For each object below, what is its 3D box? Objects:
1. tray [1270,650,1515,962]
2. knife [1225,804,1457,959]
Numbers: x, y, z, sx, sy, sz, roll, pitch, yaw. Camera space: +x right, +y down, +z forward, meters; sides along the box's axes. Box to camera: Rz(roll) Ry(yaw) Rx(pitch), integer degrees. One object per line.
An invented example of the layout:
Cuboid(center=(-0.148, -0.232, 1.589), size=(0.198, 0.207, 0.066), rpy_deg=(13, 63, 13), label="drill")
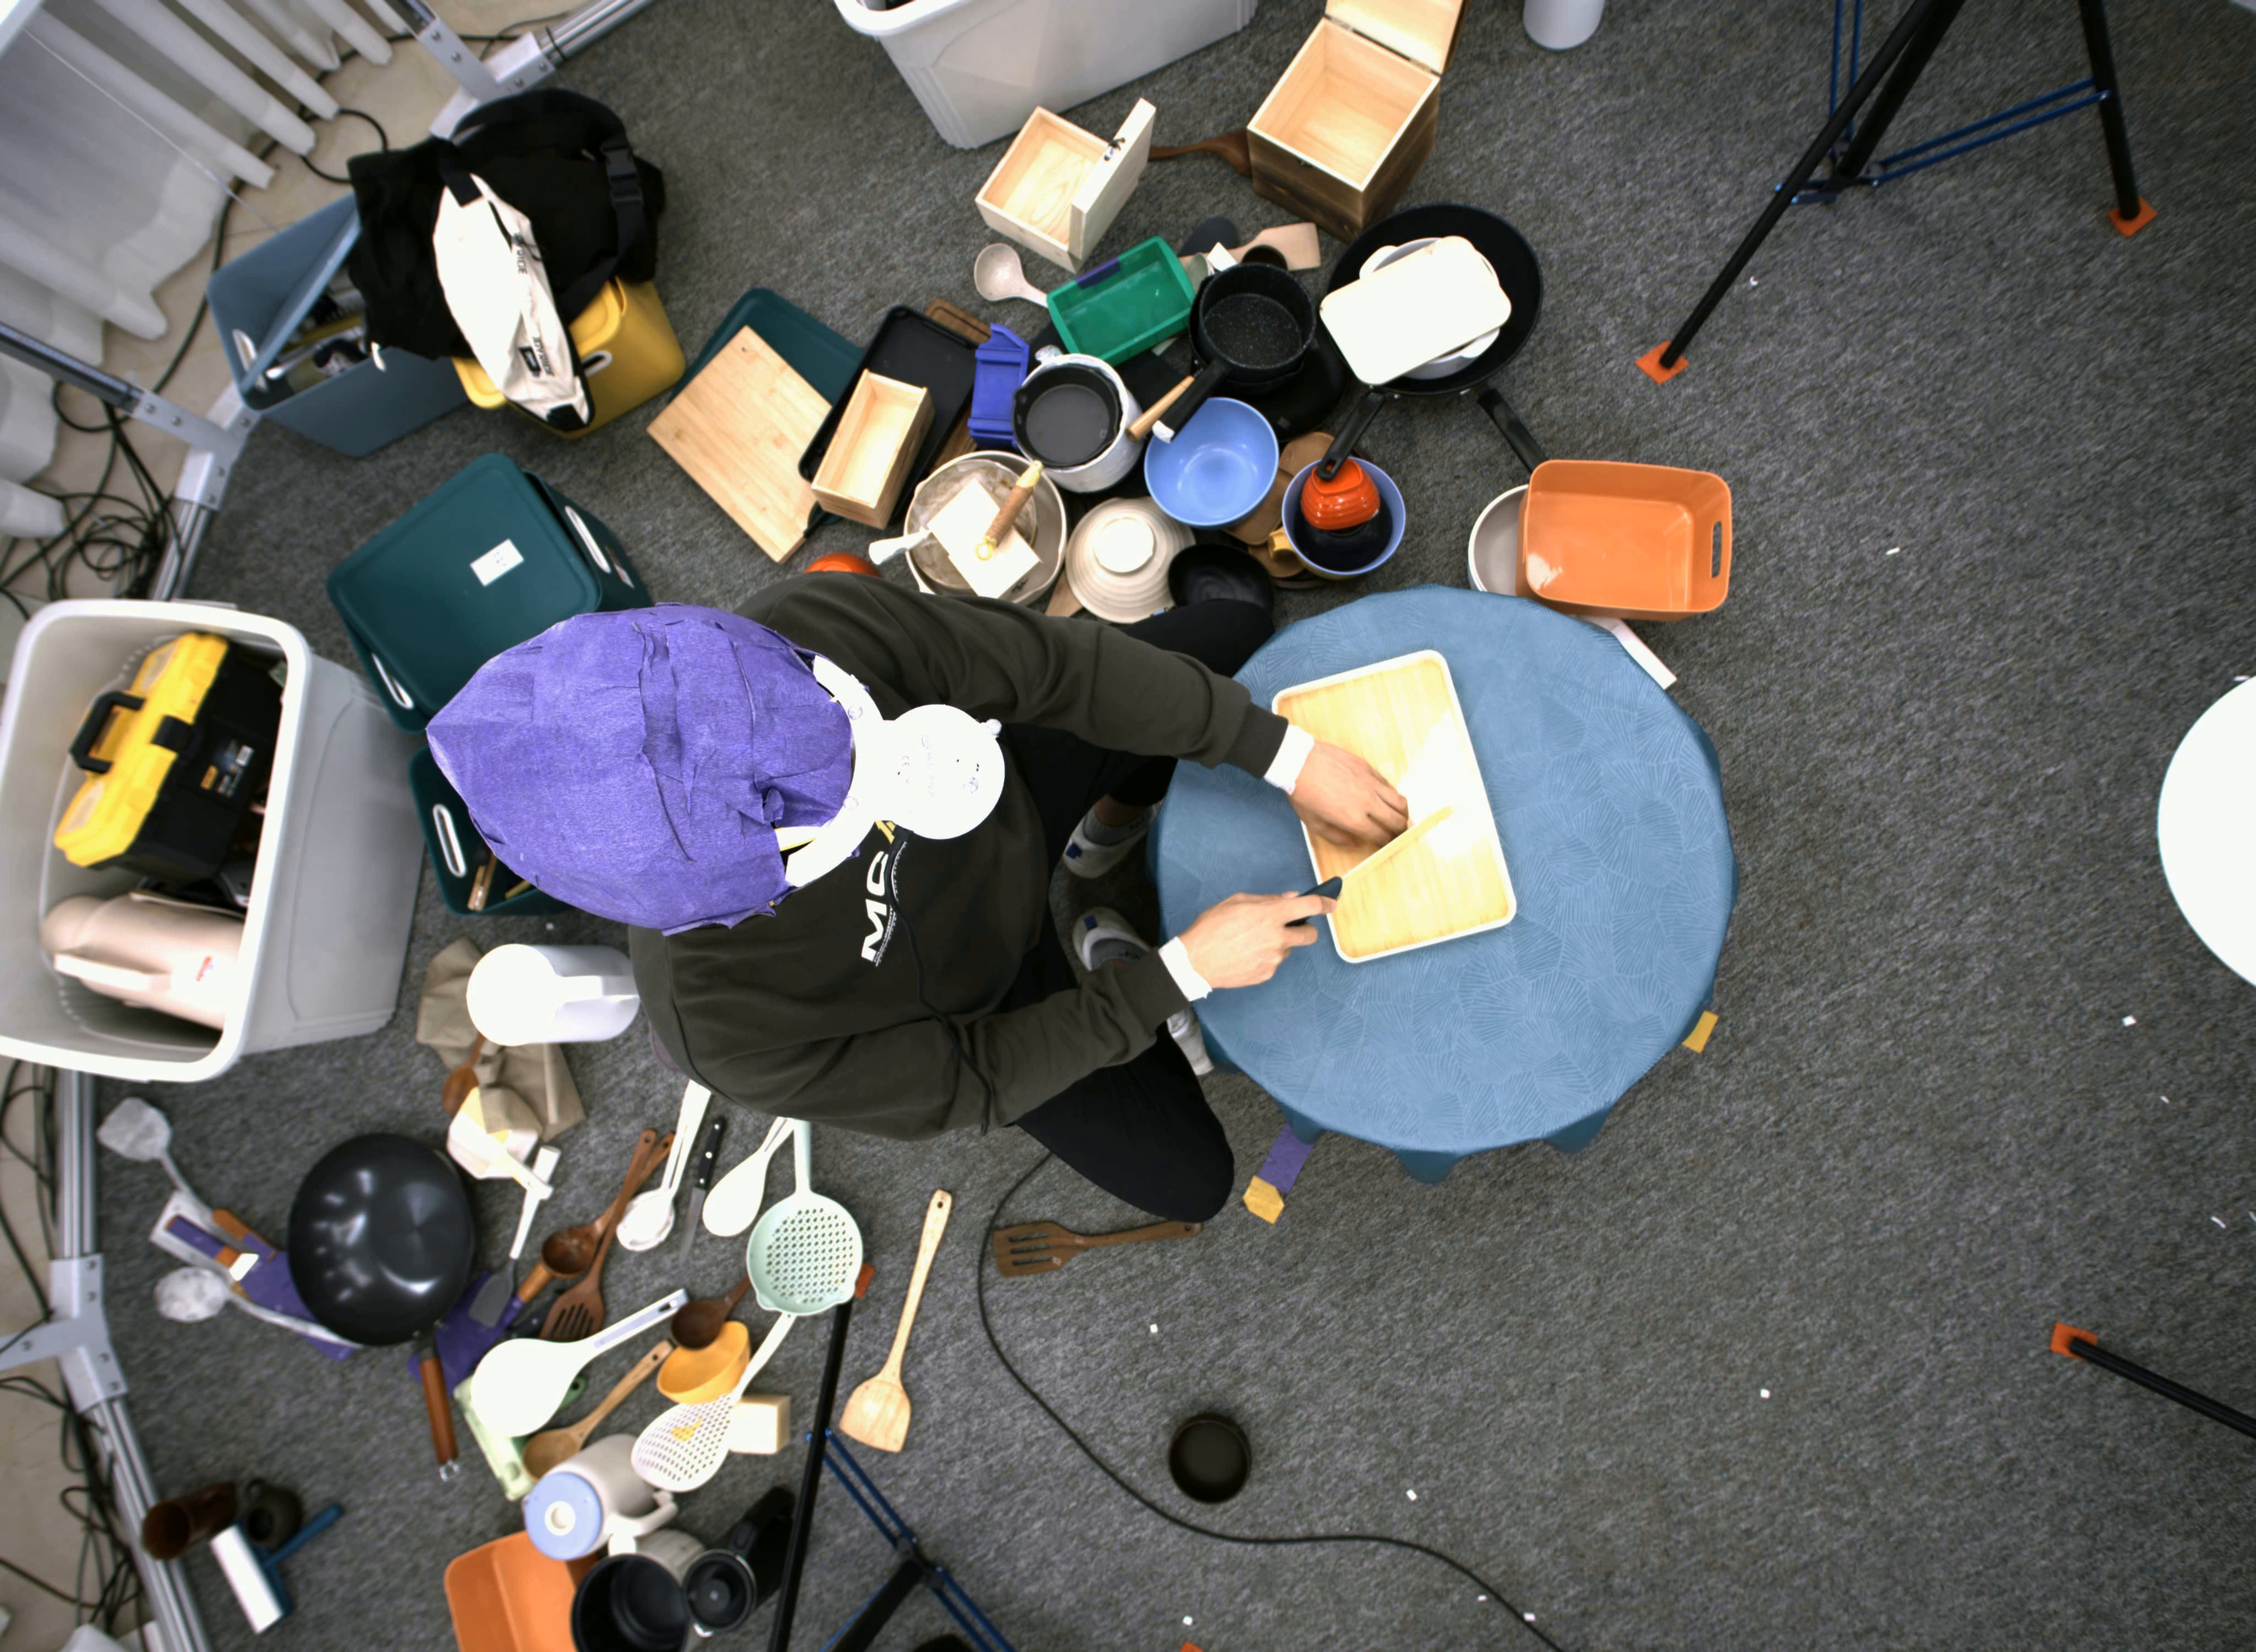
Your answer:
Cuboid(center=(0.276, -0.022, 1.451), size=(0.193, 0.027, 0.298), rpy_deg=(-15, 84, 10), label="tray")
Cuboid(center=(0.220, 0.053, 1.406), size=(0.288, 0.082, 0.027), rpy_deg=(-32, 72, -7), label="knife")
